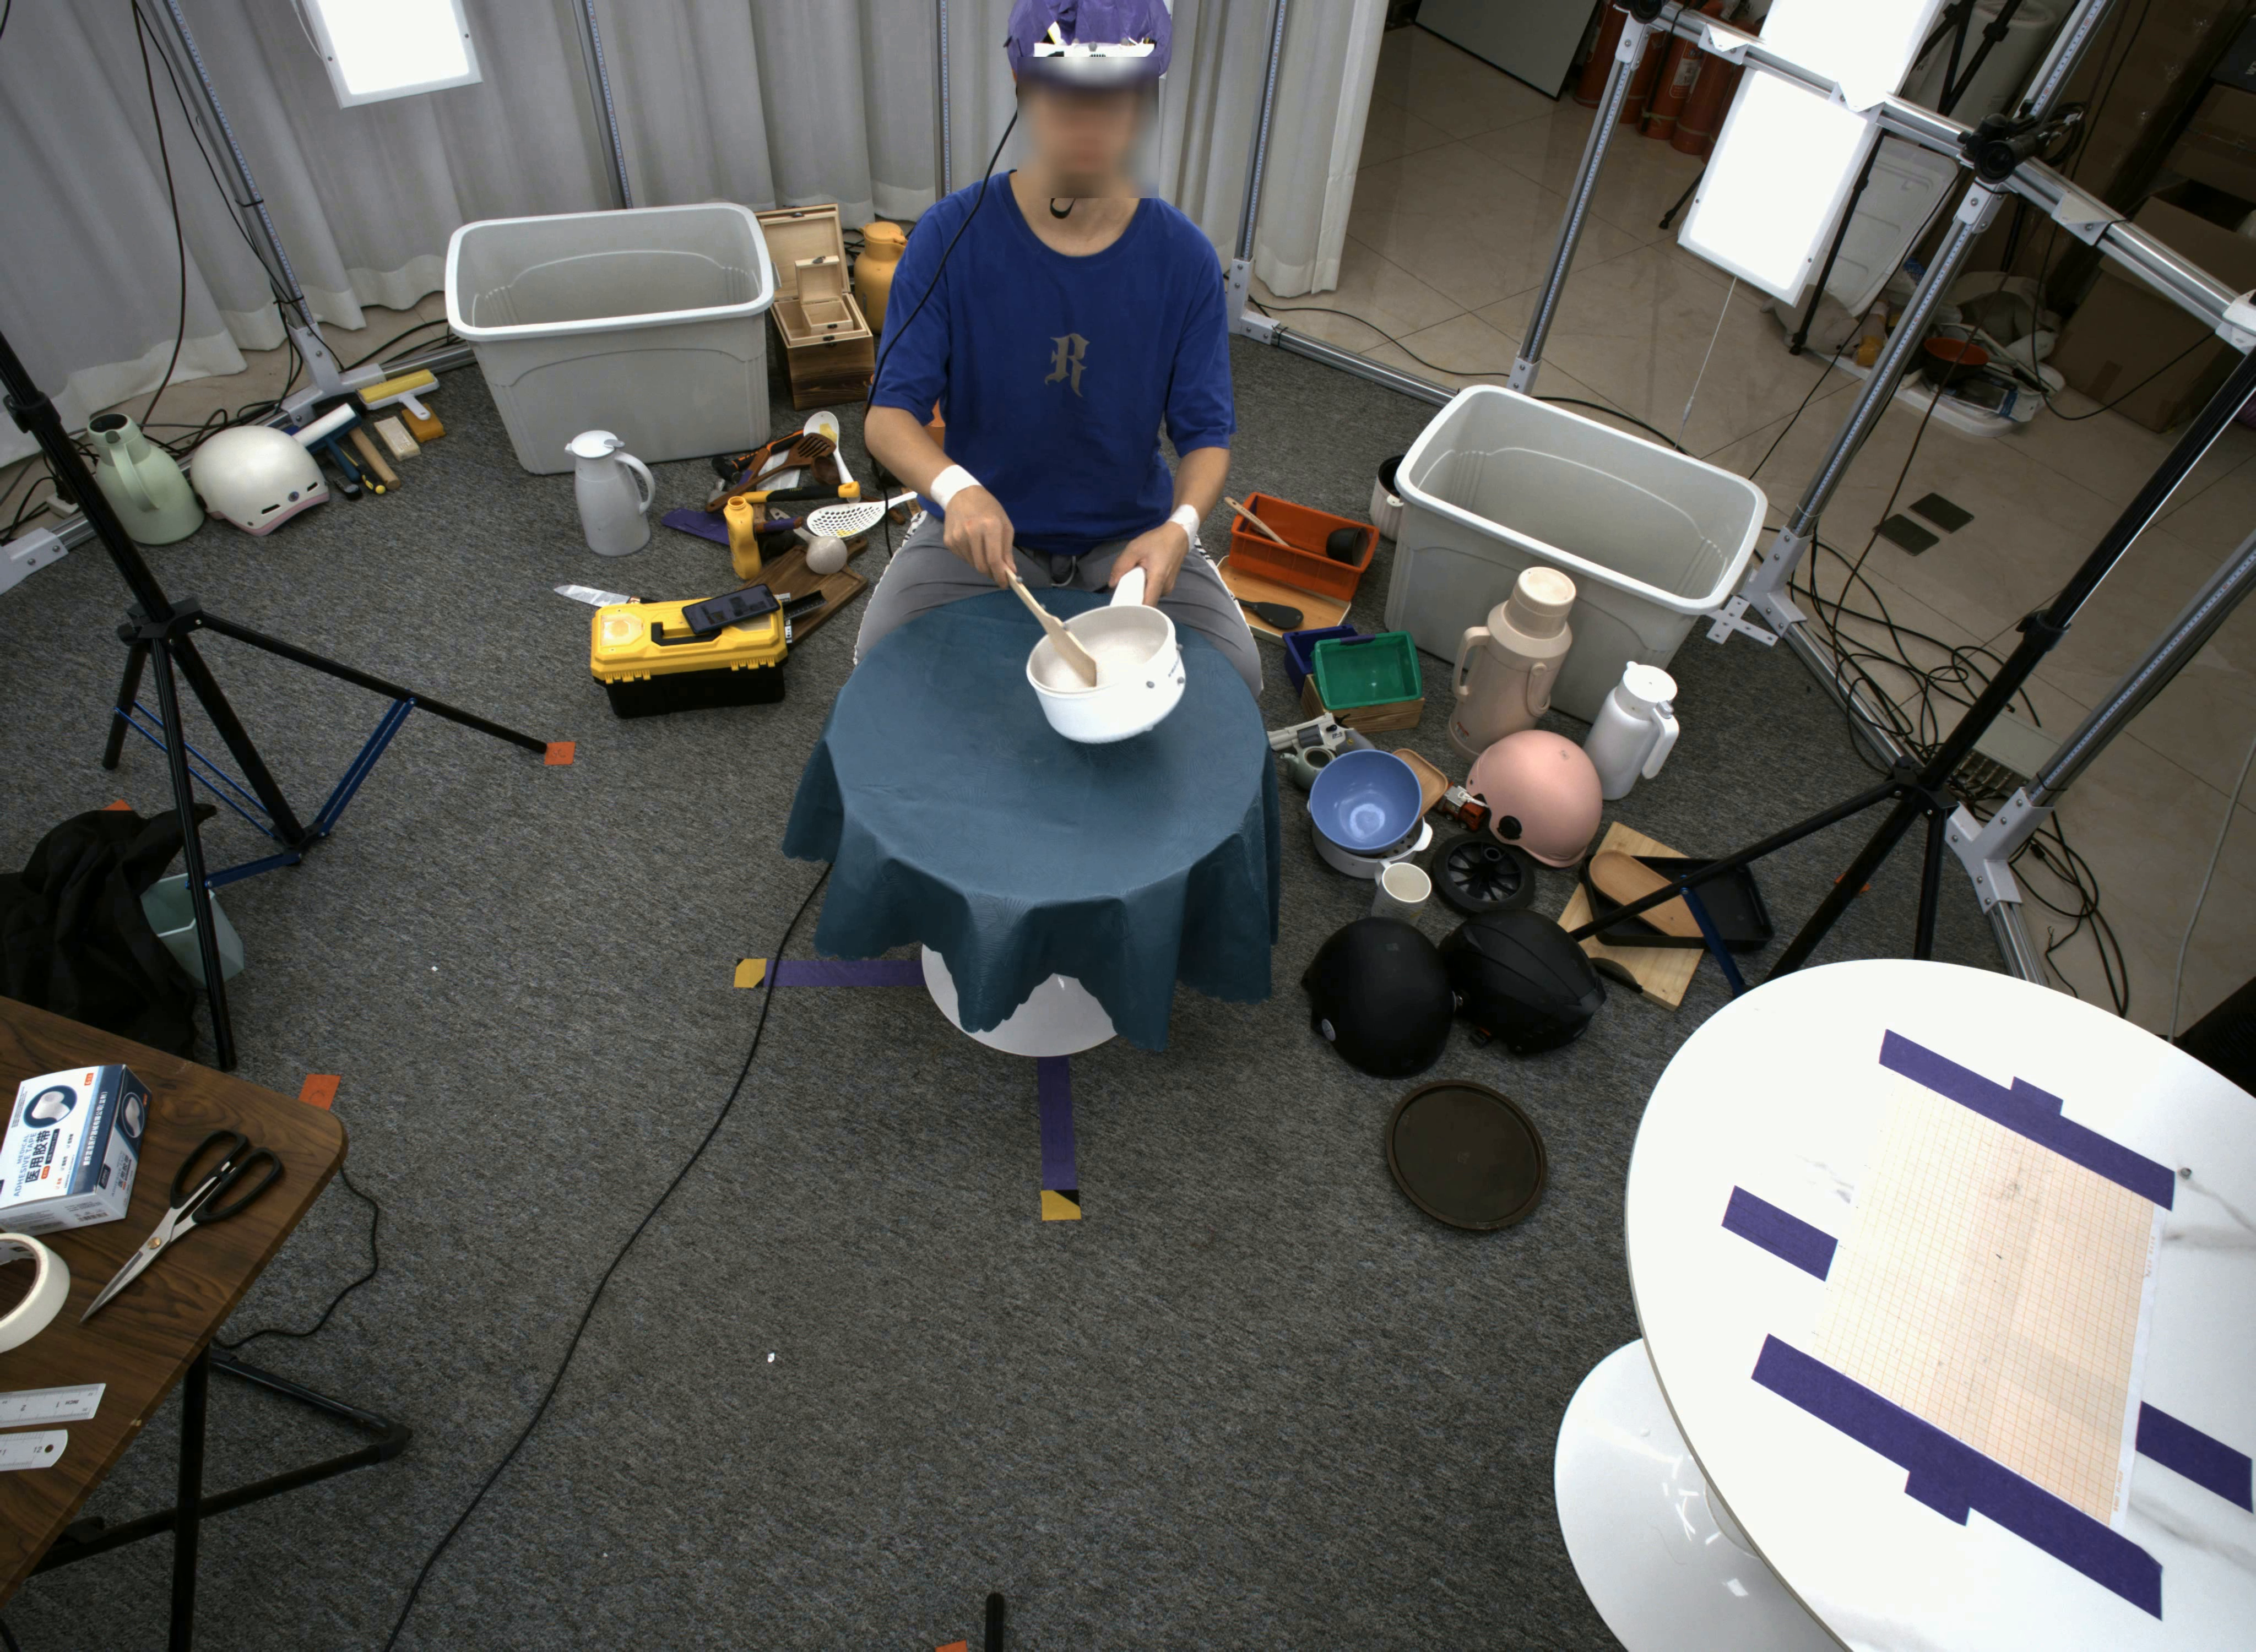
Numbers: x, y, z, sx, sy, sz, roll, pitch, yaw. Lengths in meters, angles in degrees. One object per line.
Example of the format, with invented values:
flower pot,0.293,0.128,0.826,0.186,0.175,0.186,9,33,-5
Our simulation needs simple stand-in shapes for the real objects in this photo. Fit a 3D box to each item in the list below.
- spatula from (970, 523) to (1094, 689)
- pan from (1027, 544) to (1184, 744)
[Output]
spatula,-0.131,-0.296,1.697,0.011,0.071,0.297,-29,67,-20
pan,-0.008,-0.250,1.760,0.201,0.100,0.363,-6,40,23
